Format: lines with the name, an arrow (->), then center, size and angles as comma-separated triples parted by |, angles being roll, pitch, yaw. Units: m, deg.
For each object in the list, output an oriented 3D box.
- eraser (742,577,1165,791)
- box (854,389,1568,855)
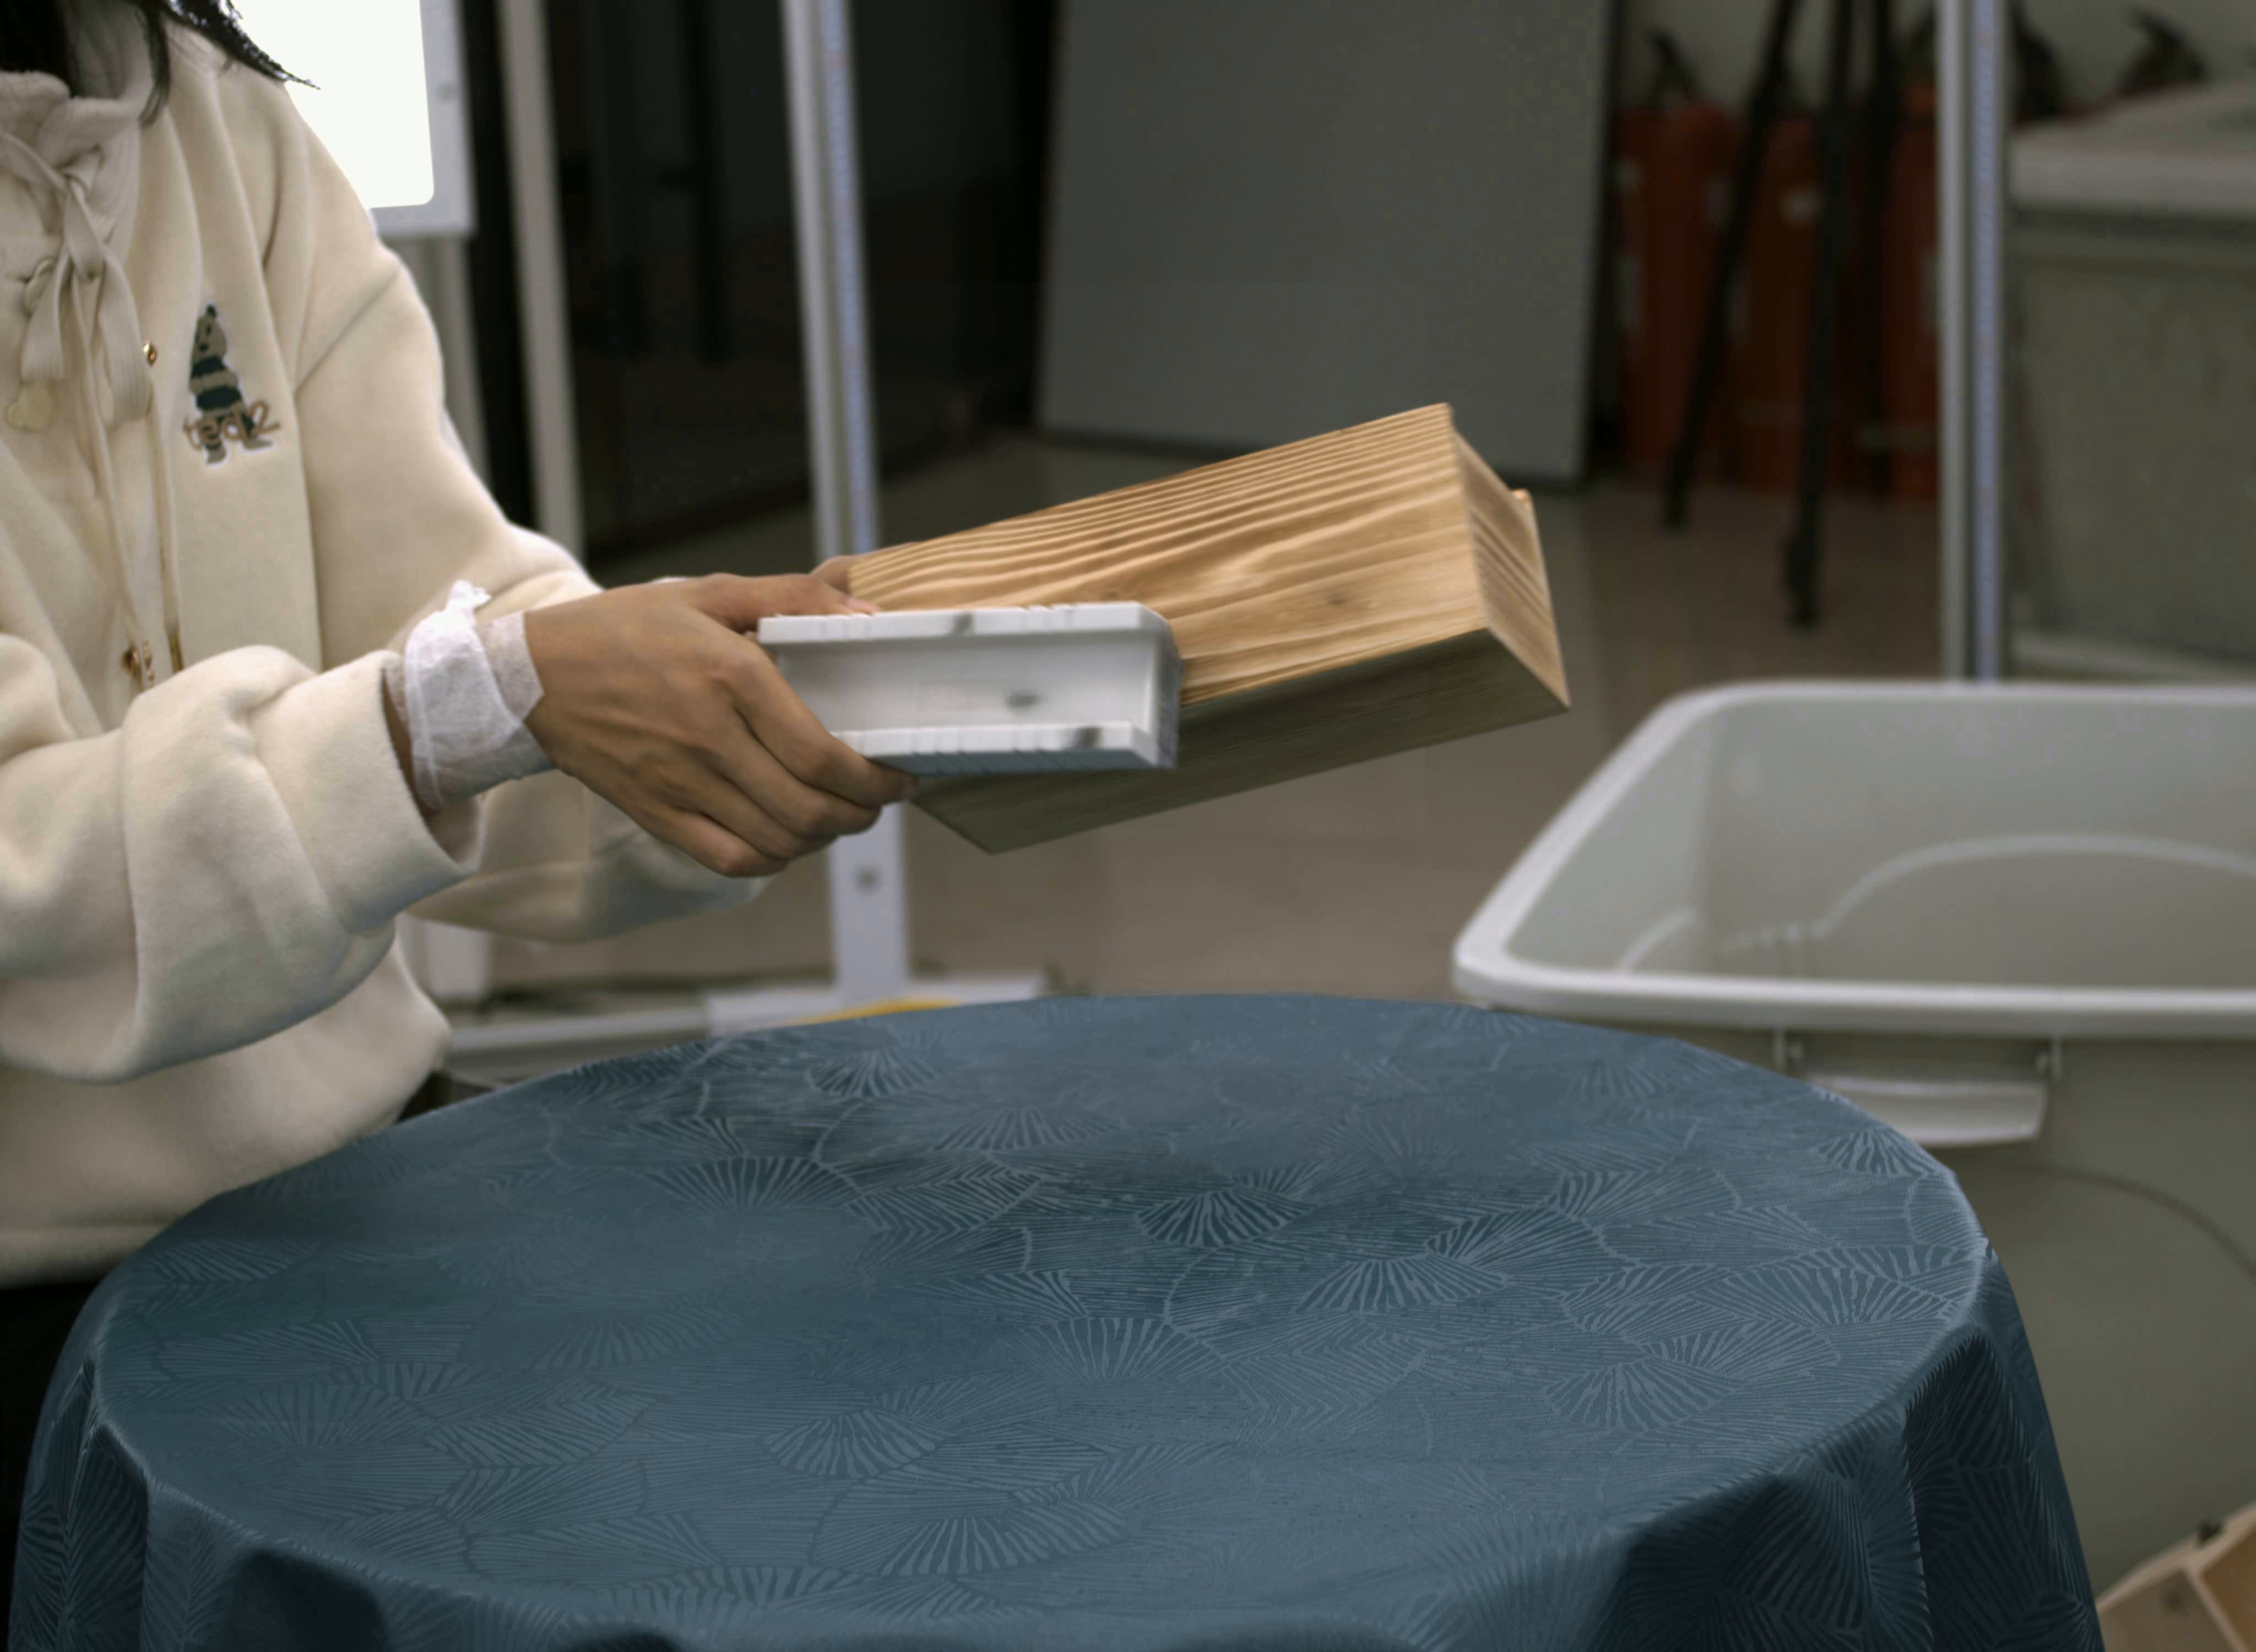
eraser -> -0.056, -0.044, 1.729 | 0.134, 0.050, 0.046 | -5, -13, 23
box -> 0.028, -0.064, 1.787 | 0.211, 0.081, 0.106 | -14, -19, 16
